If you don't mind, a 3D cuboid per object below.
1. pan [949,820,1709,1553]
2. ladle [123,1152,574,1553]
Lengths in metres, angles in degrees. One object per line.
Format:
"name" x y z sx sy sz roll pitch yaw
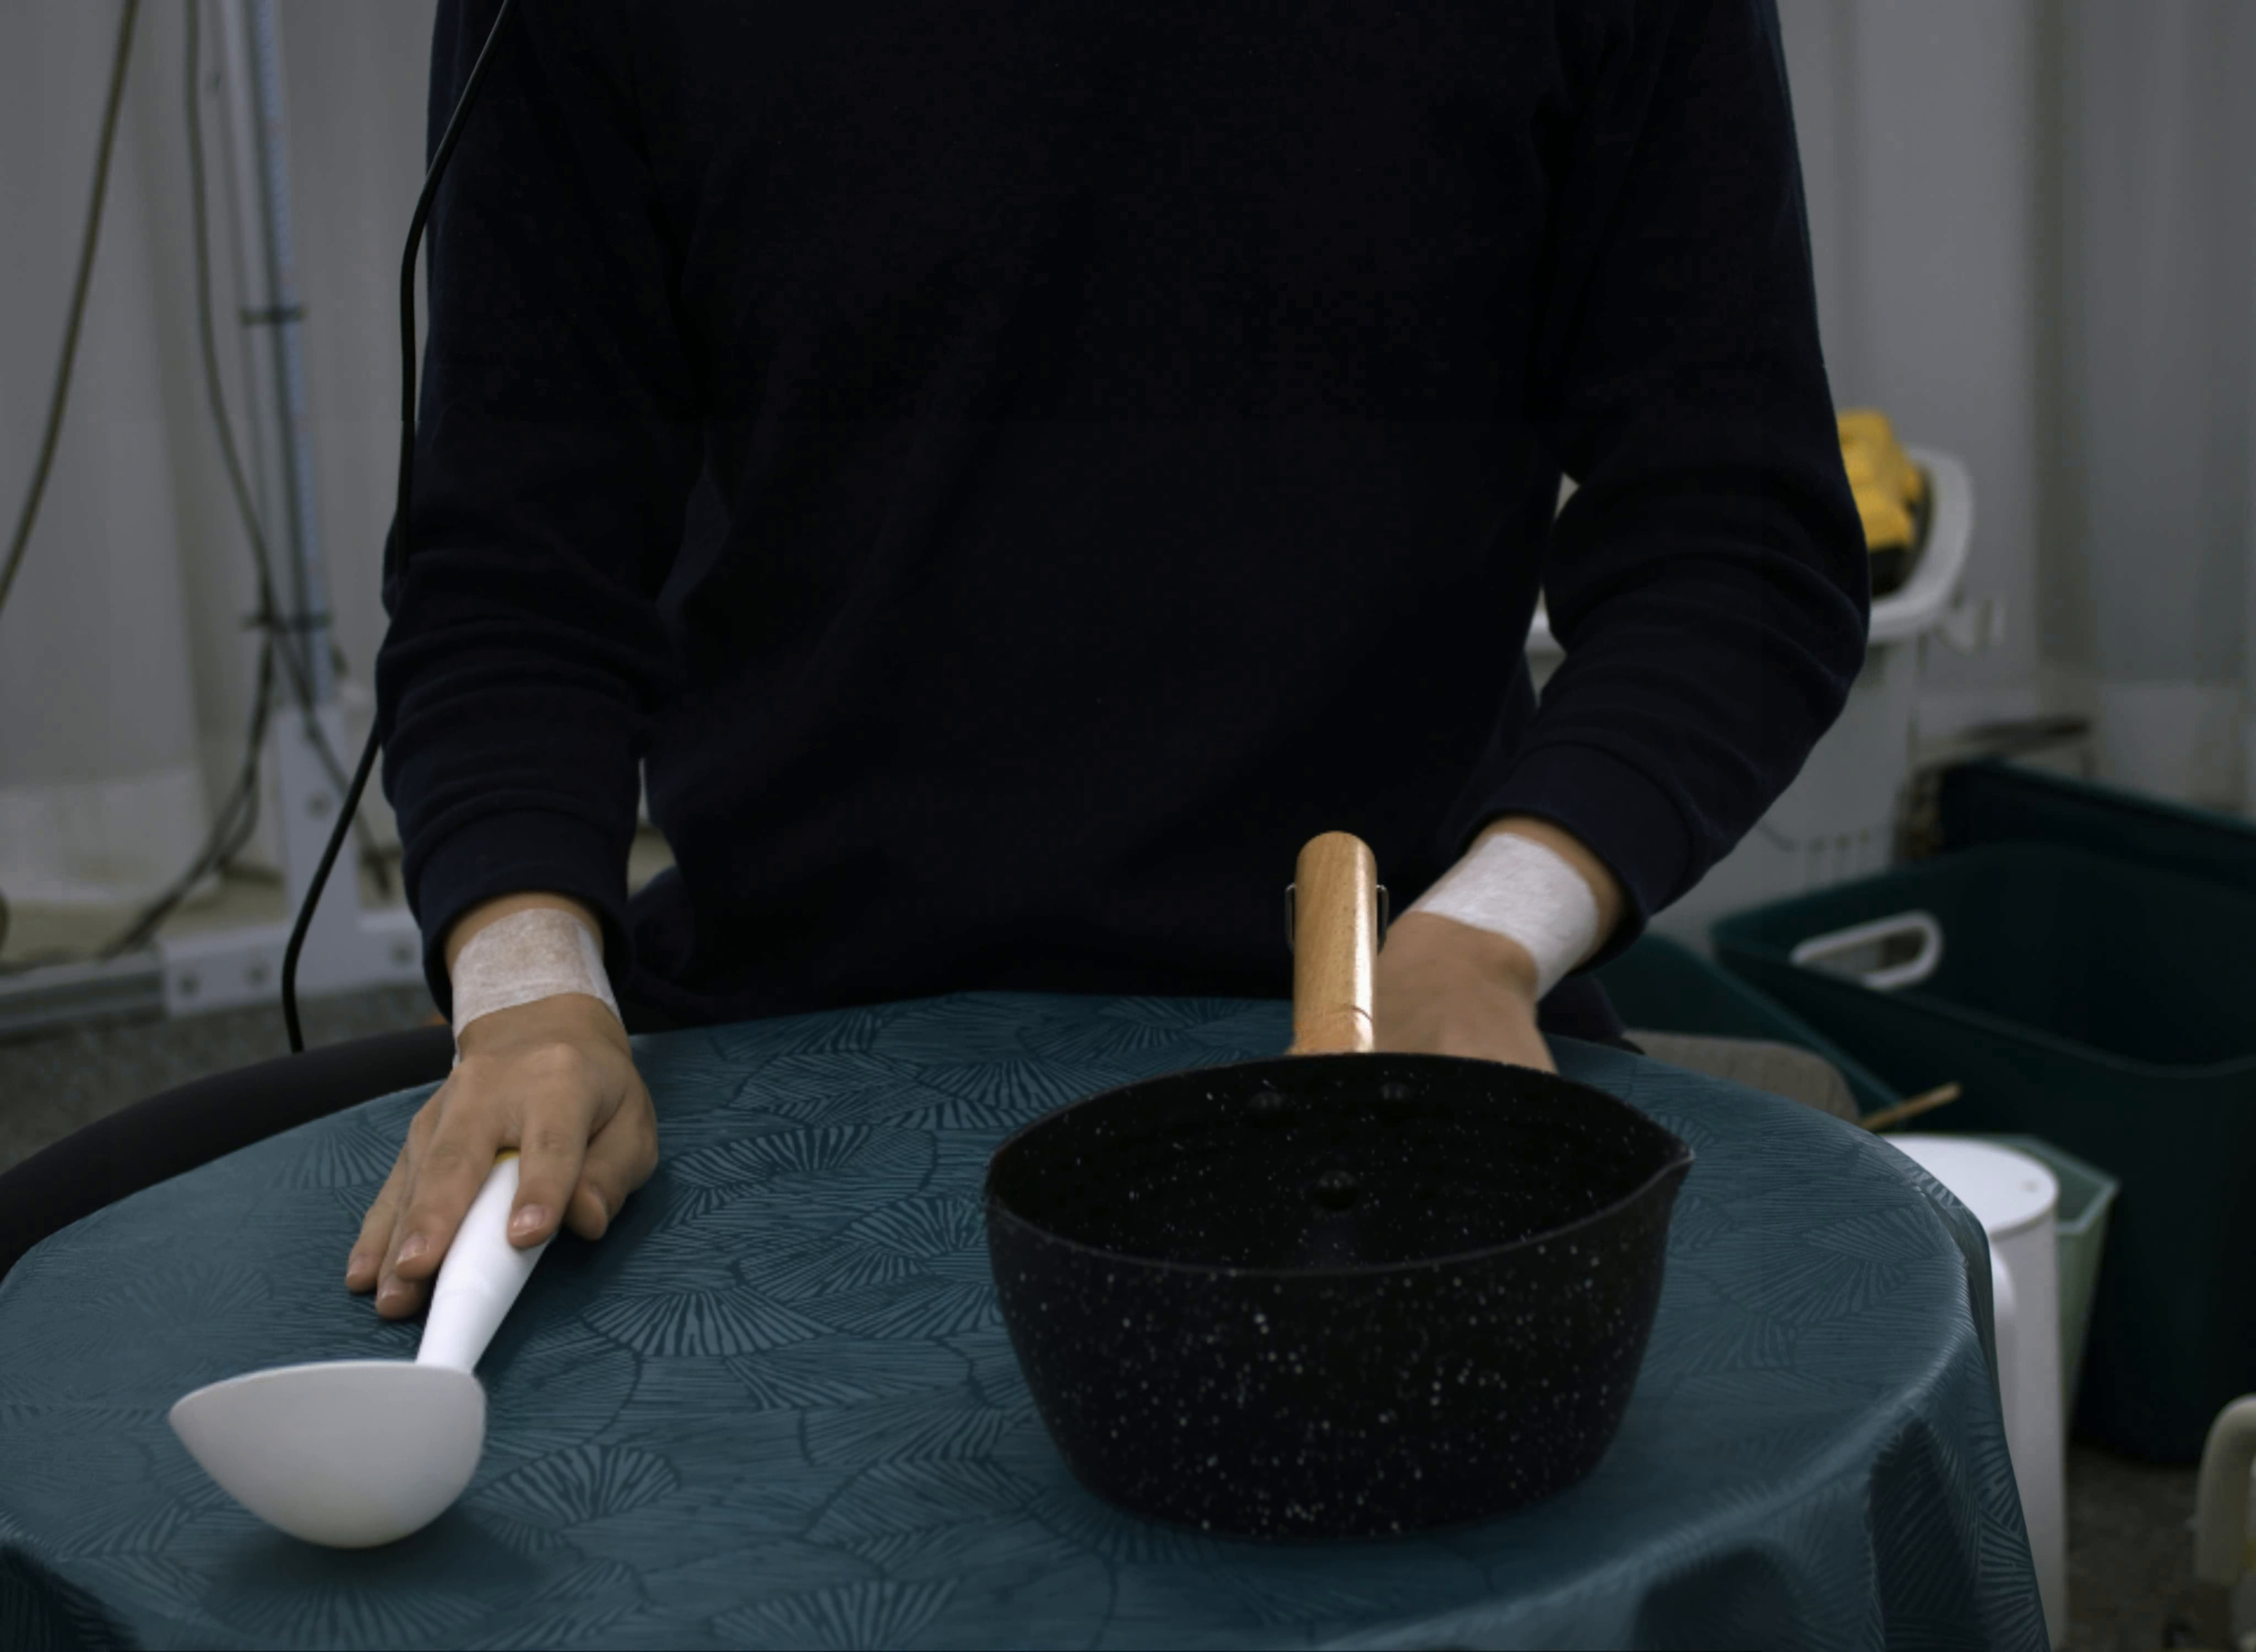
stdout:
"pan" 0.058 0.097 1.562 0.207 0.108 0.345 -4 16 3
"ladle" -0.207 0.135 1.561 0.090 0.070 0.294 -17 12 10
